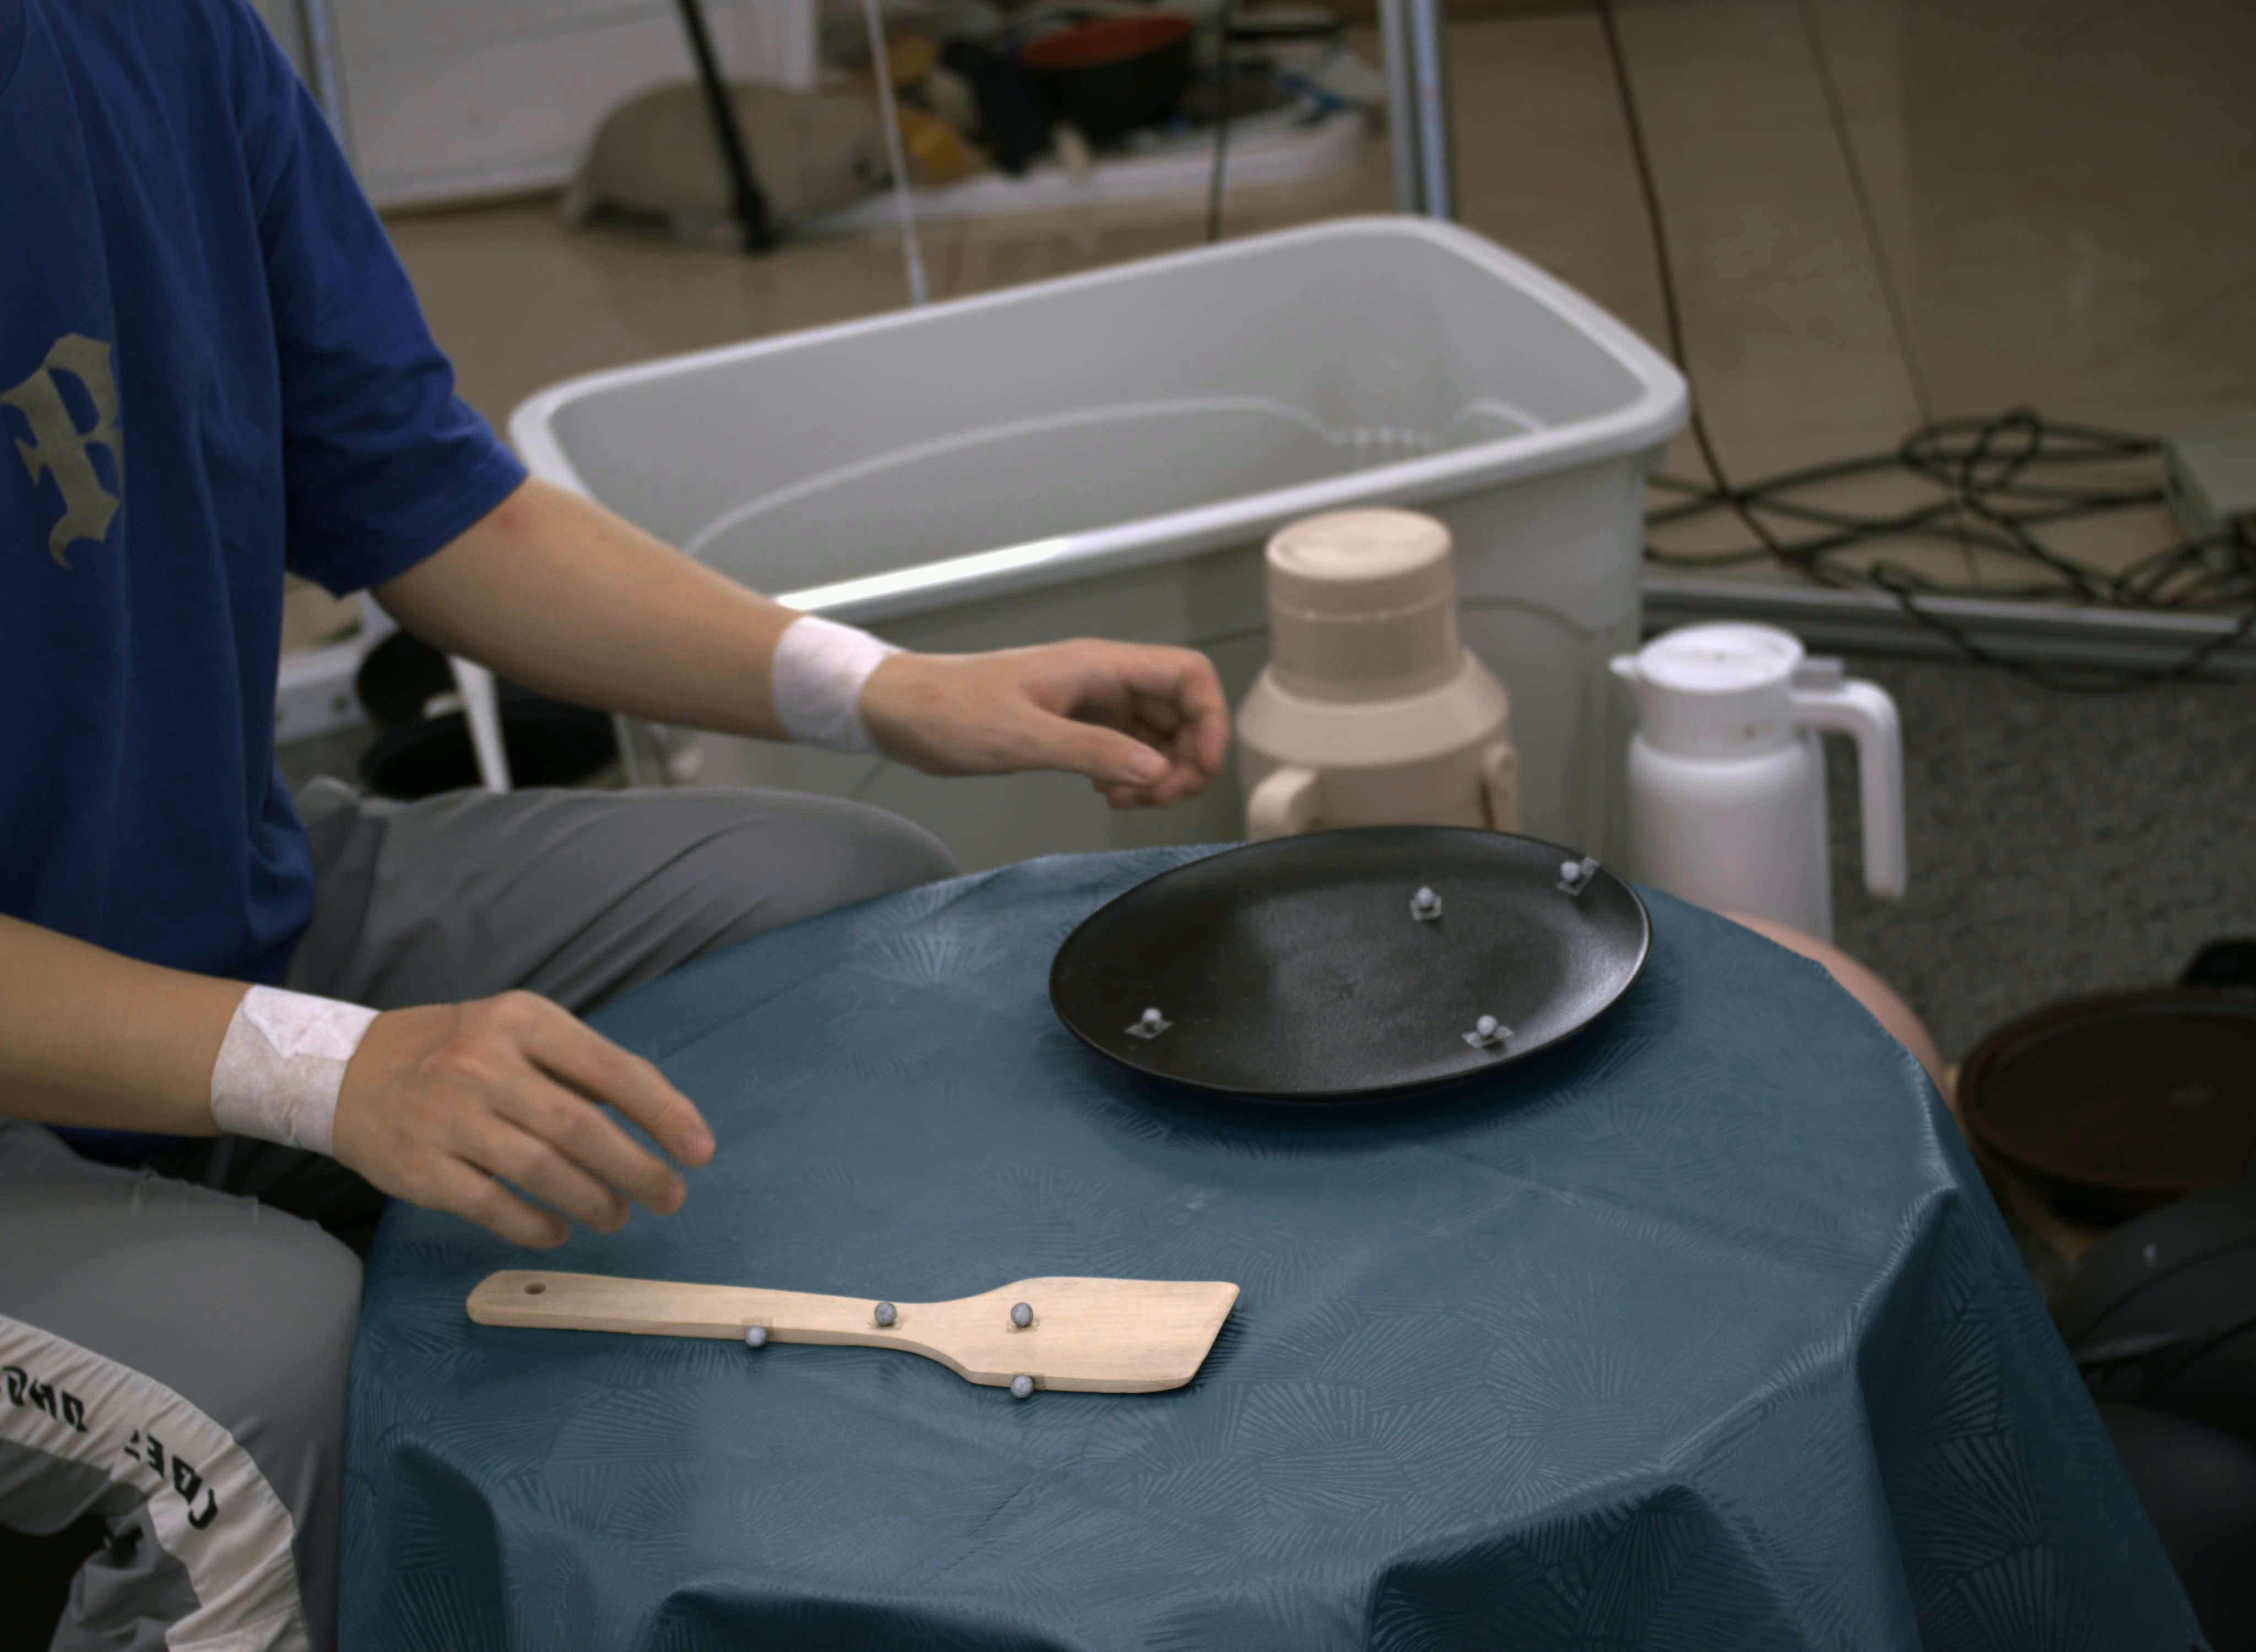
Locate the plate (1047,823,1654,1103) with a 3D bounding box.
[{"bbox_3d":[0.089,0.060,2.268,0.244,0.024,0.241,-6,25,3],"label":"plate"}]

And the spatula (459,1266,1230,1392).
[{"bbox_3d":[-0.110,0.179,2.076,0.292,0.011,0.071,2,27,18],"label":"spatula"}]
